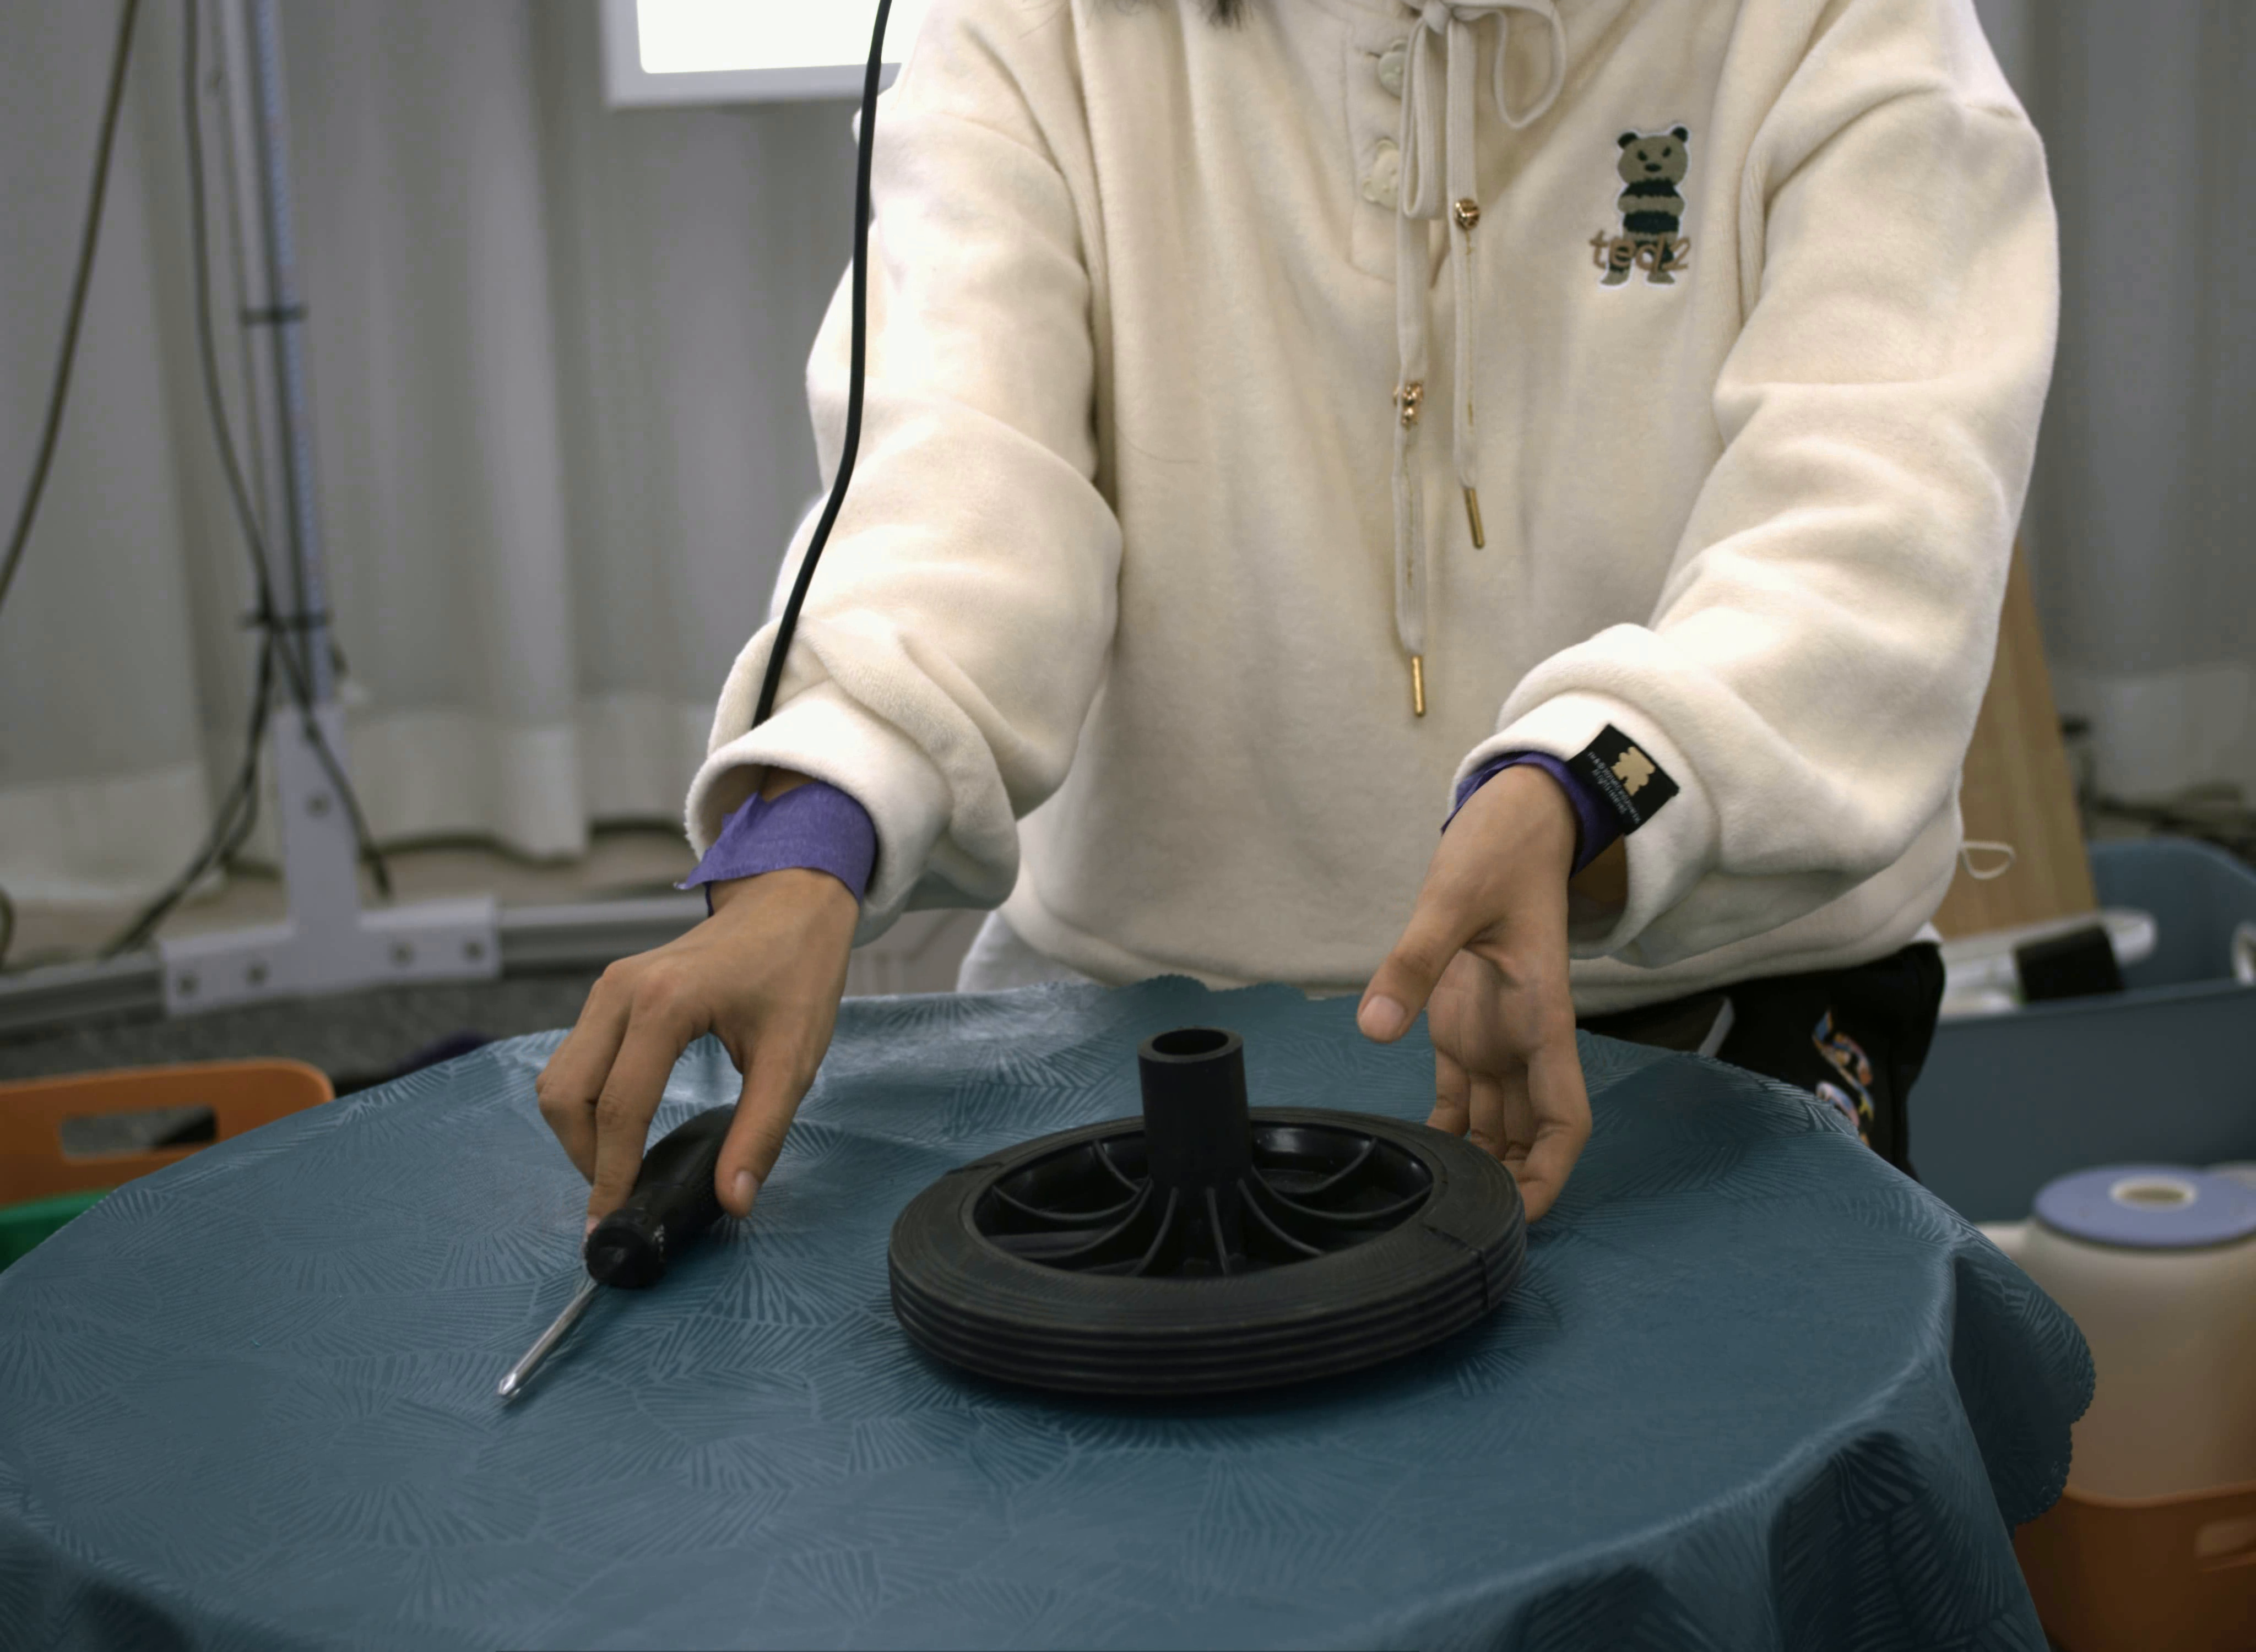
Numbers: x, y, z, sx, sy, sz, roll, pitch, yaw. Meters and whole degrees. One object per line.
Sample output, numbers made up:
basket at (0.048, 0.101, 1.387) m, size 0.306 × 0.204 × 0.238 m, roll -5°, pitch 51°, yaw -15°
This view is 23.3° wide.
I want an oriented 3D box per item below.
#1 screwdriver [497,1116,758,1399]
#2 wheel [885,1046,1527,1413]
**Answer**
screwdriver at (-0.149, 0.129, 1.640) m, size 0.031 × 0.031 × 0.197 m, roll 1°, pitch 17°, yaw 13°
wheel at (0.020, 0.107, 1.597) m, size 0.189 × 0.079 × 0.189 m, roll -12°, pitch 17°, yaw -19°
